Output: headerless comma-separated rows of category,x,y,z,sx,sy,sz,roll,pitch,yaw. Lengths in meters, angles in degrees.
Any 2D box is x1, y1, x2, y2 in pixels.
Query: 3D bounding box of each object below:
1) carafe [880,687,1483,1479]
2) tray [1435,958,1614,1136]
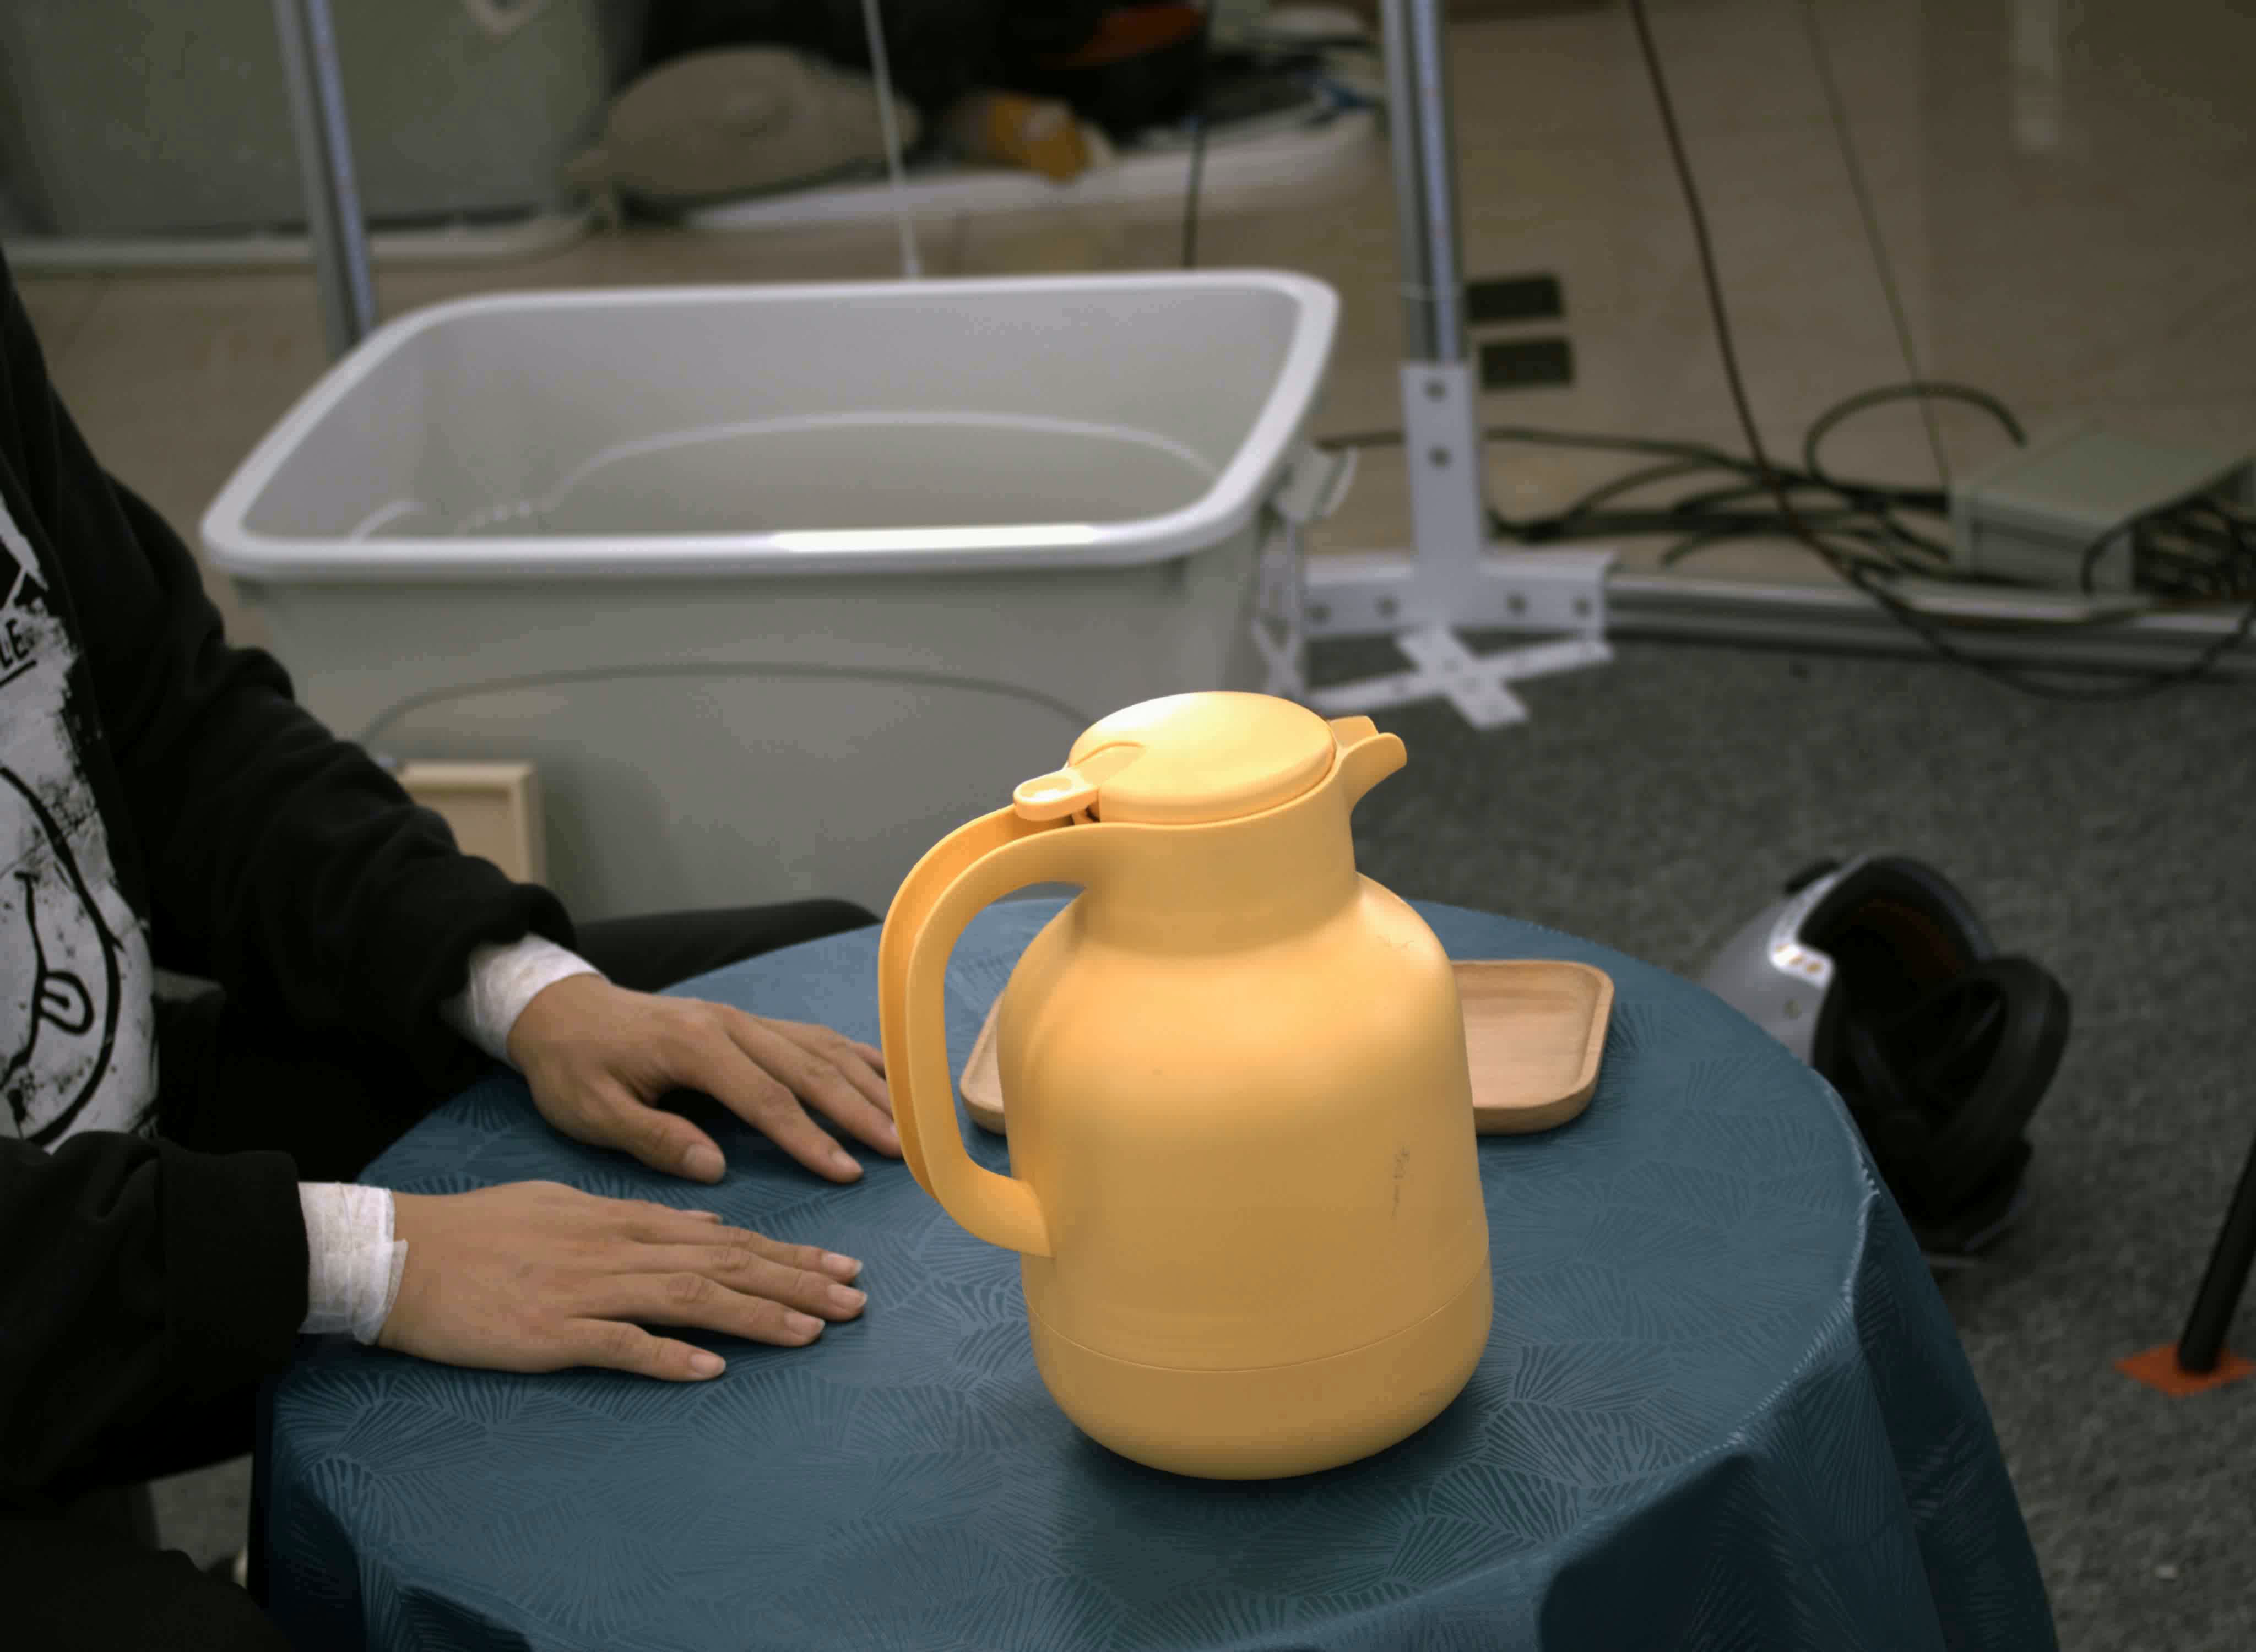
carafe,0.017,0.087,1.940,0.201,0.264,0.161,-13,24,-18
tray,0.062,0.087,2.225,0.250,0.023,0.129,-1,23,13
